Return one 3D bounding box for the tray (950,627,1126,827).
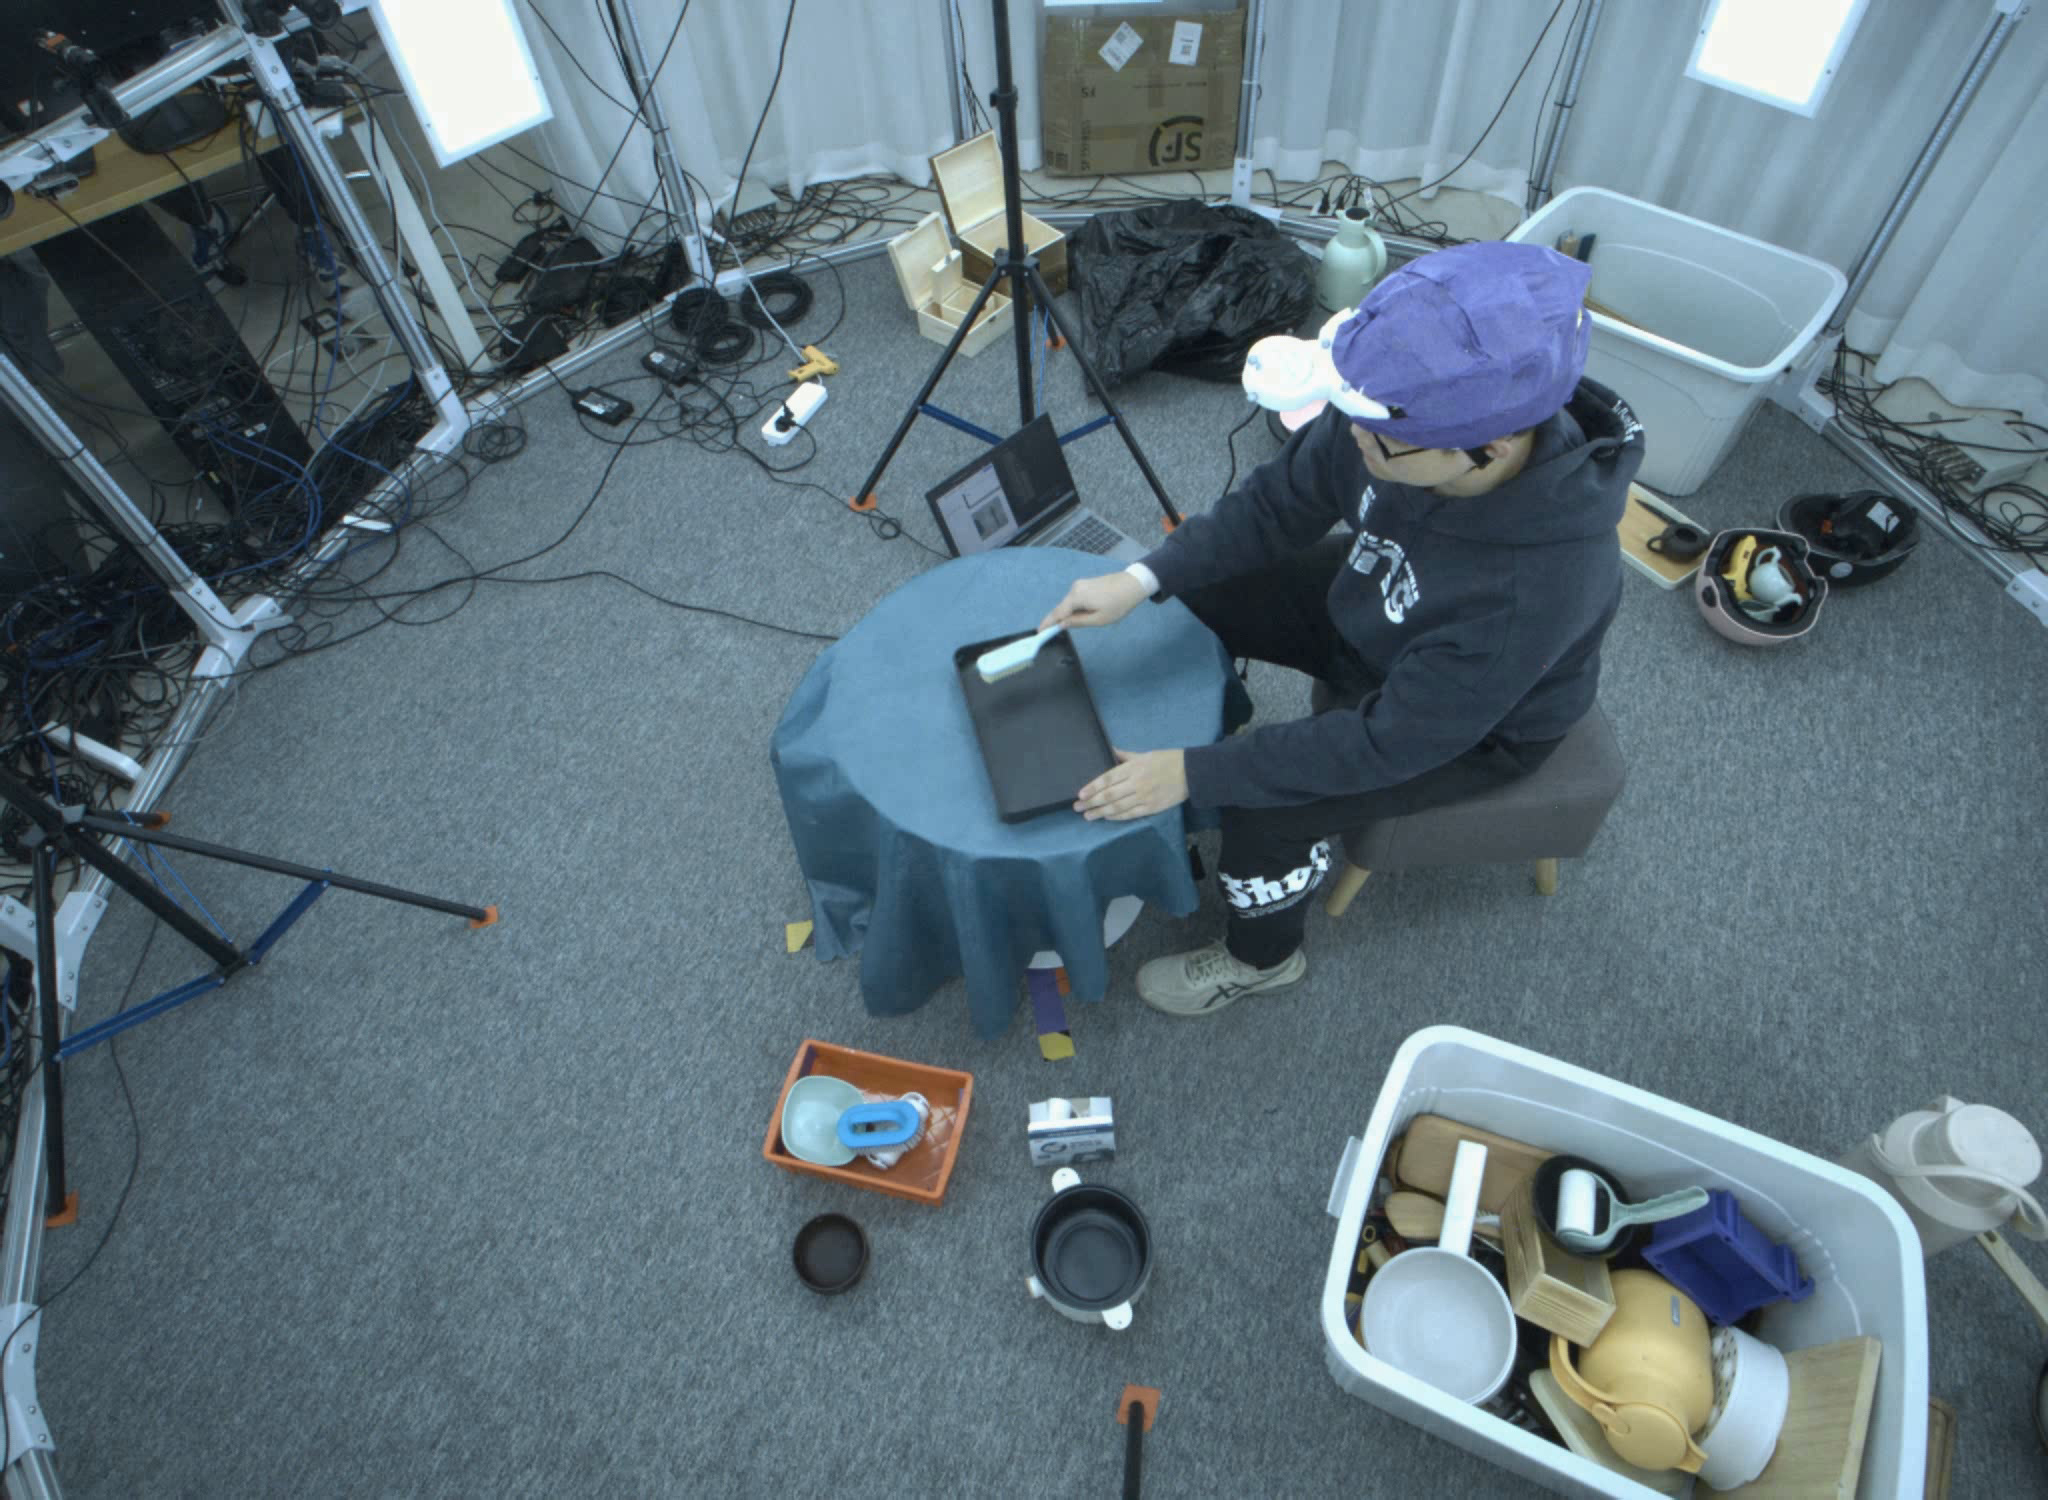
[{"bbox_3d":[0.016,-0.040,1.793,0.185,0.037,0.313,-14,56,-9],"label":"tray"}]

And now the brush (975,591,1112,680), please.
[{"bbox_3d":[0.030,-0.172,1.816,0.229,0.050,0.037,-32,63,-7],"label":"brush"}]
